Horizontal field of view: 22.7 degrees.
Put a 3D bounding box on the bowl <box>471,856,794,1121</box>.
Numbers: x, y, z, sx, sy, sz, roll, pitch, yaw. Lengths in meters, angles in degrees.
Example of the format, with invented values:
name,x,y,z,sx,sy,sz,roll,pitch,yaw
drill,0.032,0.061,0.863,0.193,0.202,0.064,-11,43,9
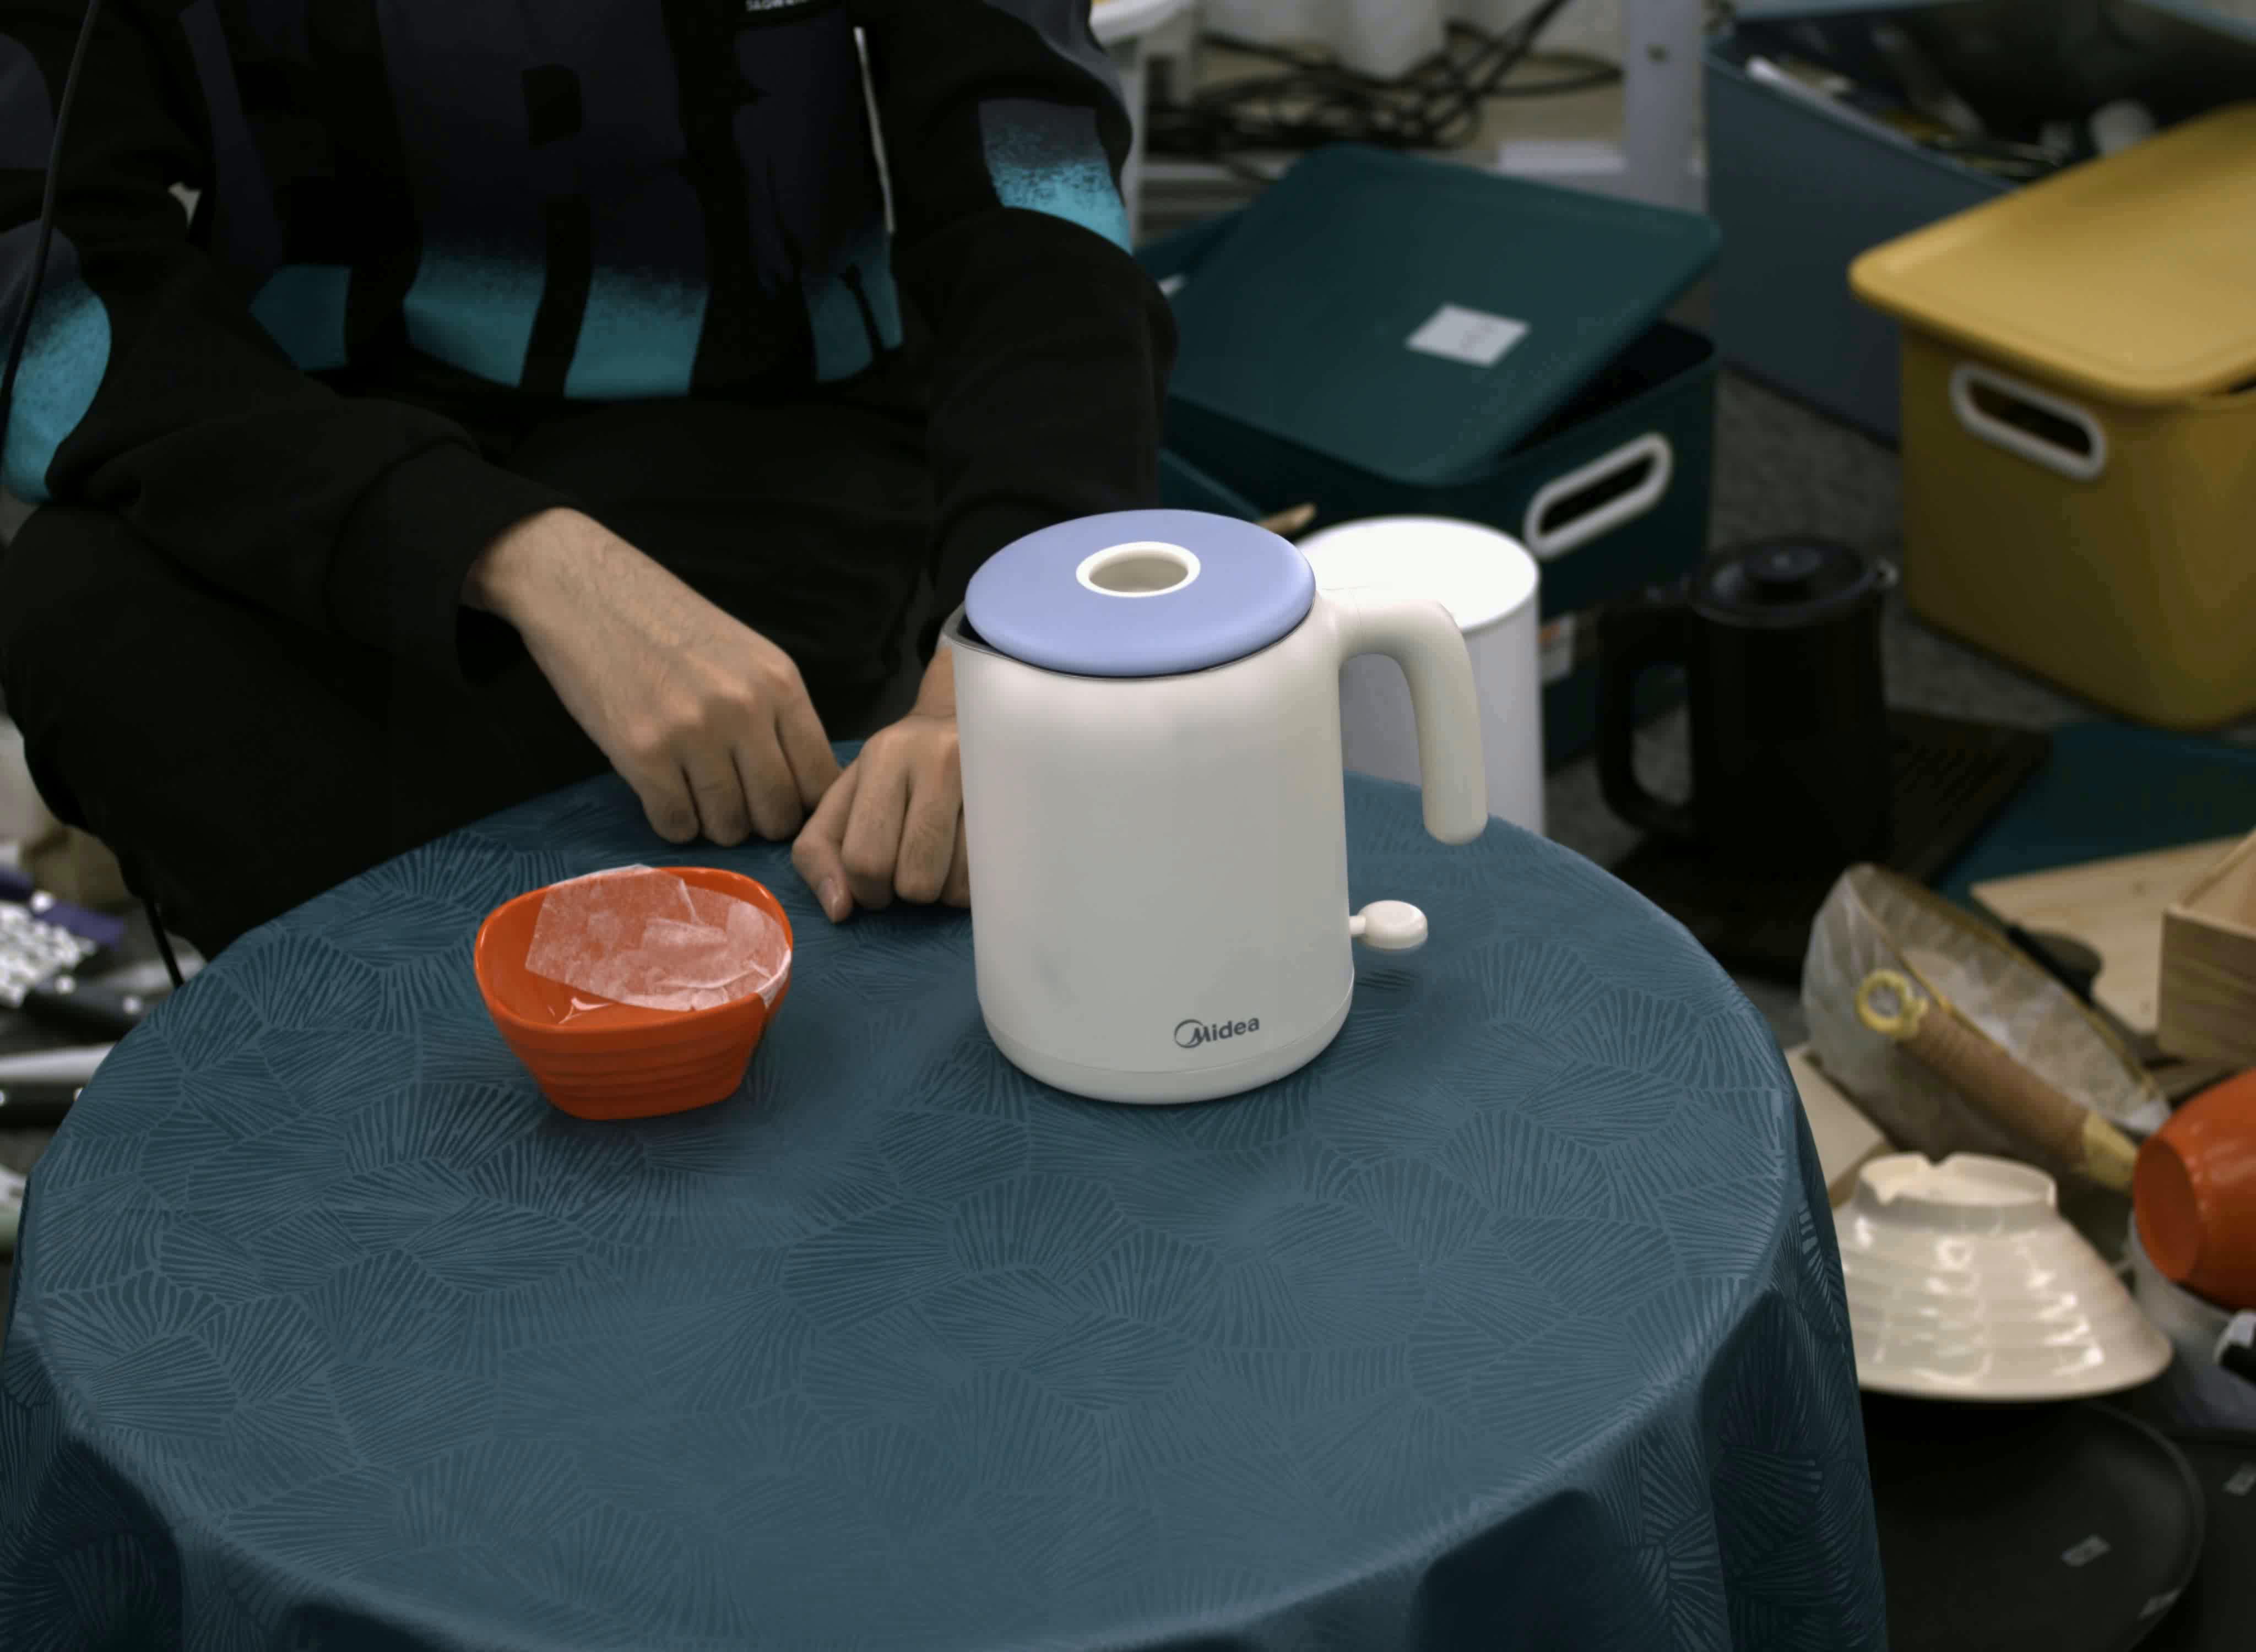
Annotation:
name,x,y,z,sx,sy,sz,roll,pitch,yaw
bowl,-0.168,0.061,1.934,0.118,0.051,0.121,-3,30,2

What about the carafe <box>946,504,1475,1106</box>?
name,x,y,z,sx,sy,sz,roll,pitch,yaw
carafe,0.031,-0.011,1.931,0.191,0.180,0.133,-9,28,-16
